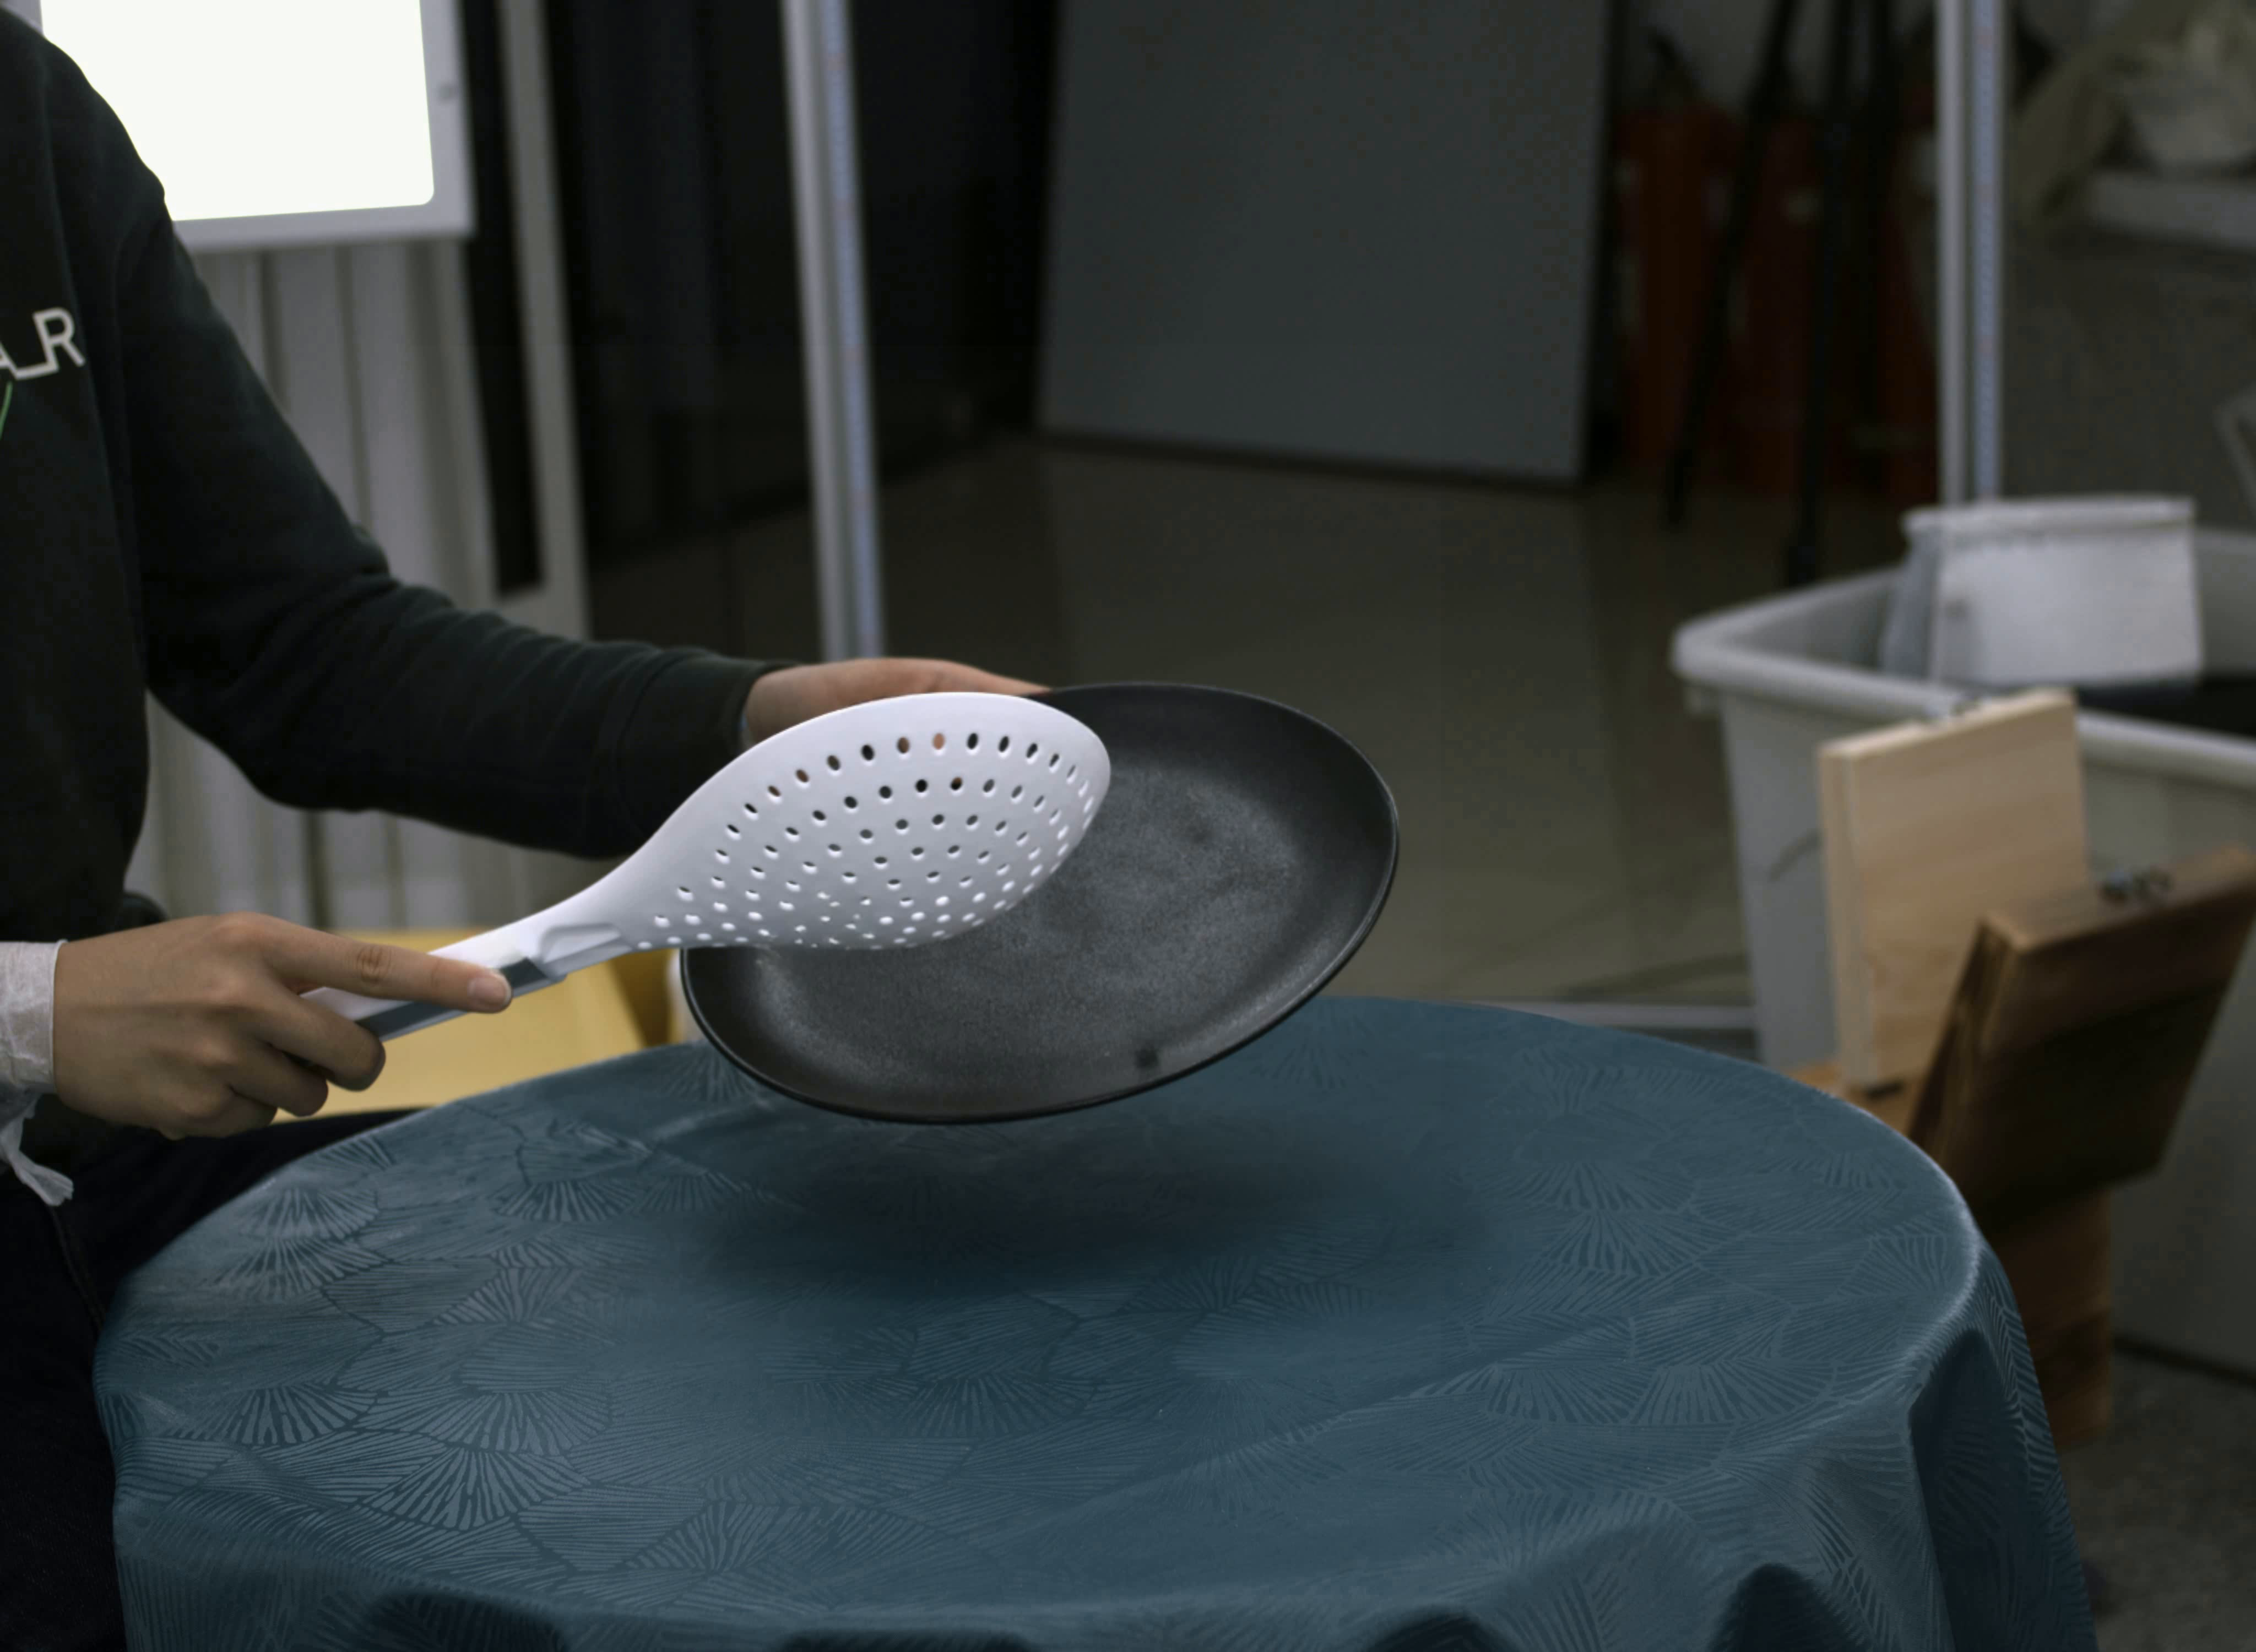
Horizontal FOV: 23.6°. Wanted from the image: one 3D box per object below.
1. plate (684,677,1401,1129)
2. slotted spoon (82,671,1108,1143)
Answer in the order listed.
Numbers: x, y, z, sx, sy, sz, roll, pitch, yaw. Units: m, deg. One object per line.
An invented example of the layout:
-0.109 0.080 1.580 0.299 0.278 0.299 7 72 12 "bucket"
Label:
-0.027 0.029 1.772 0.242 0.023 0.246 -11 34 6 "plate"
-0.169 0.034 1.698 0.348 0.046 0.135 -16 -31 14 "slotted spoon"
